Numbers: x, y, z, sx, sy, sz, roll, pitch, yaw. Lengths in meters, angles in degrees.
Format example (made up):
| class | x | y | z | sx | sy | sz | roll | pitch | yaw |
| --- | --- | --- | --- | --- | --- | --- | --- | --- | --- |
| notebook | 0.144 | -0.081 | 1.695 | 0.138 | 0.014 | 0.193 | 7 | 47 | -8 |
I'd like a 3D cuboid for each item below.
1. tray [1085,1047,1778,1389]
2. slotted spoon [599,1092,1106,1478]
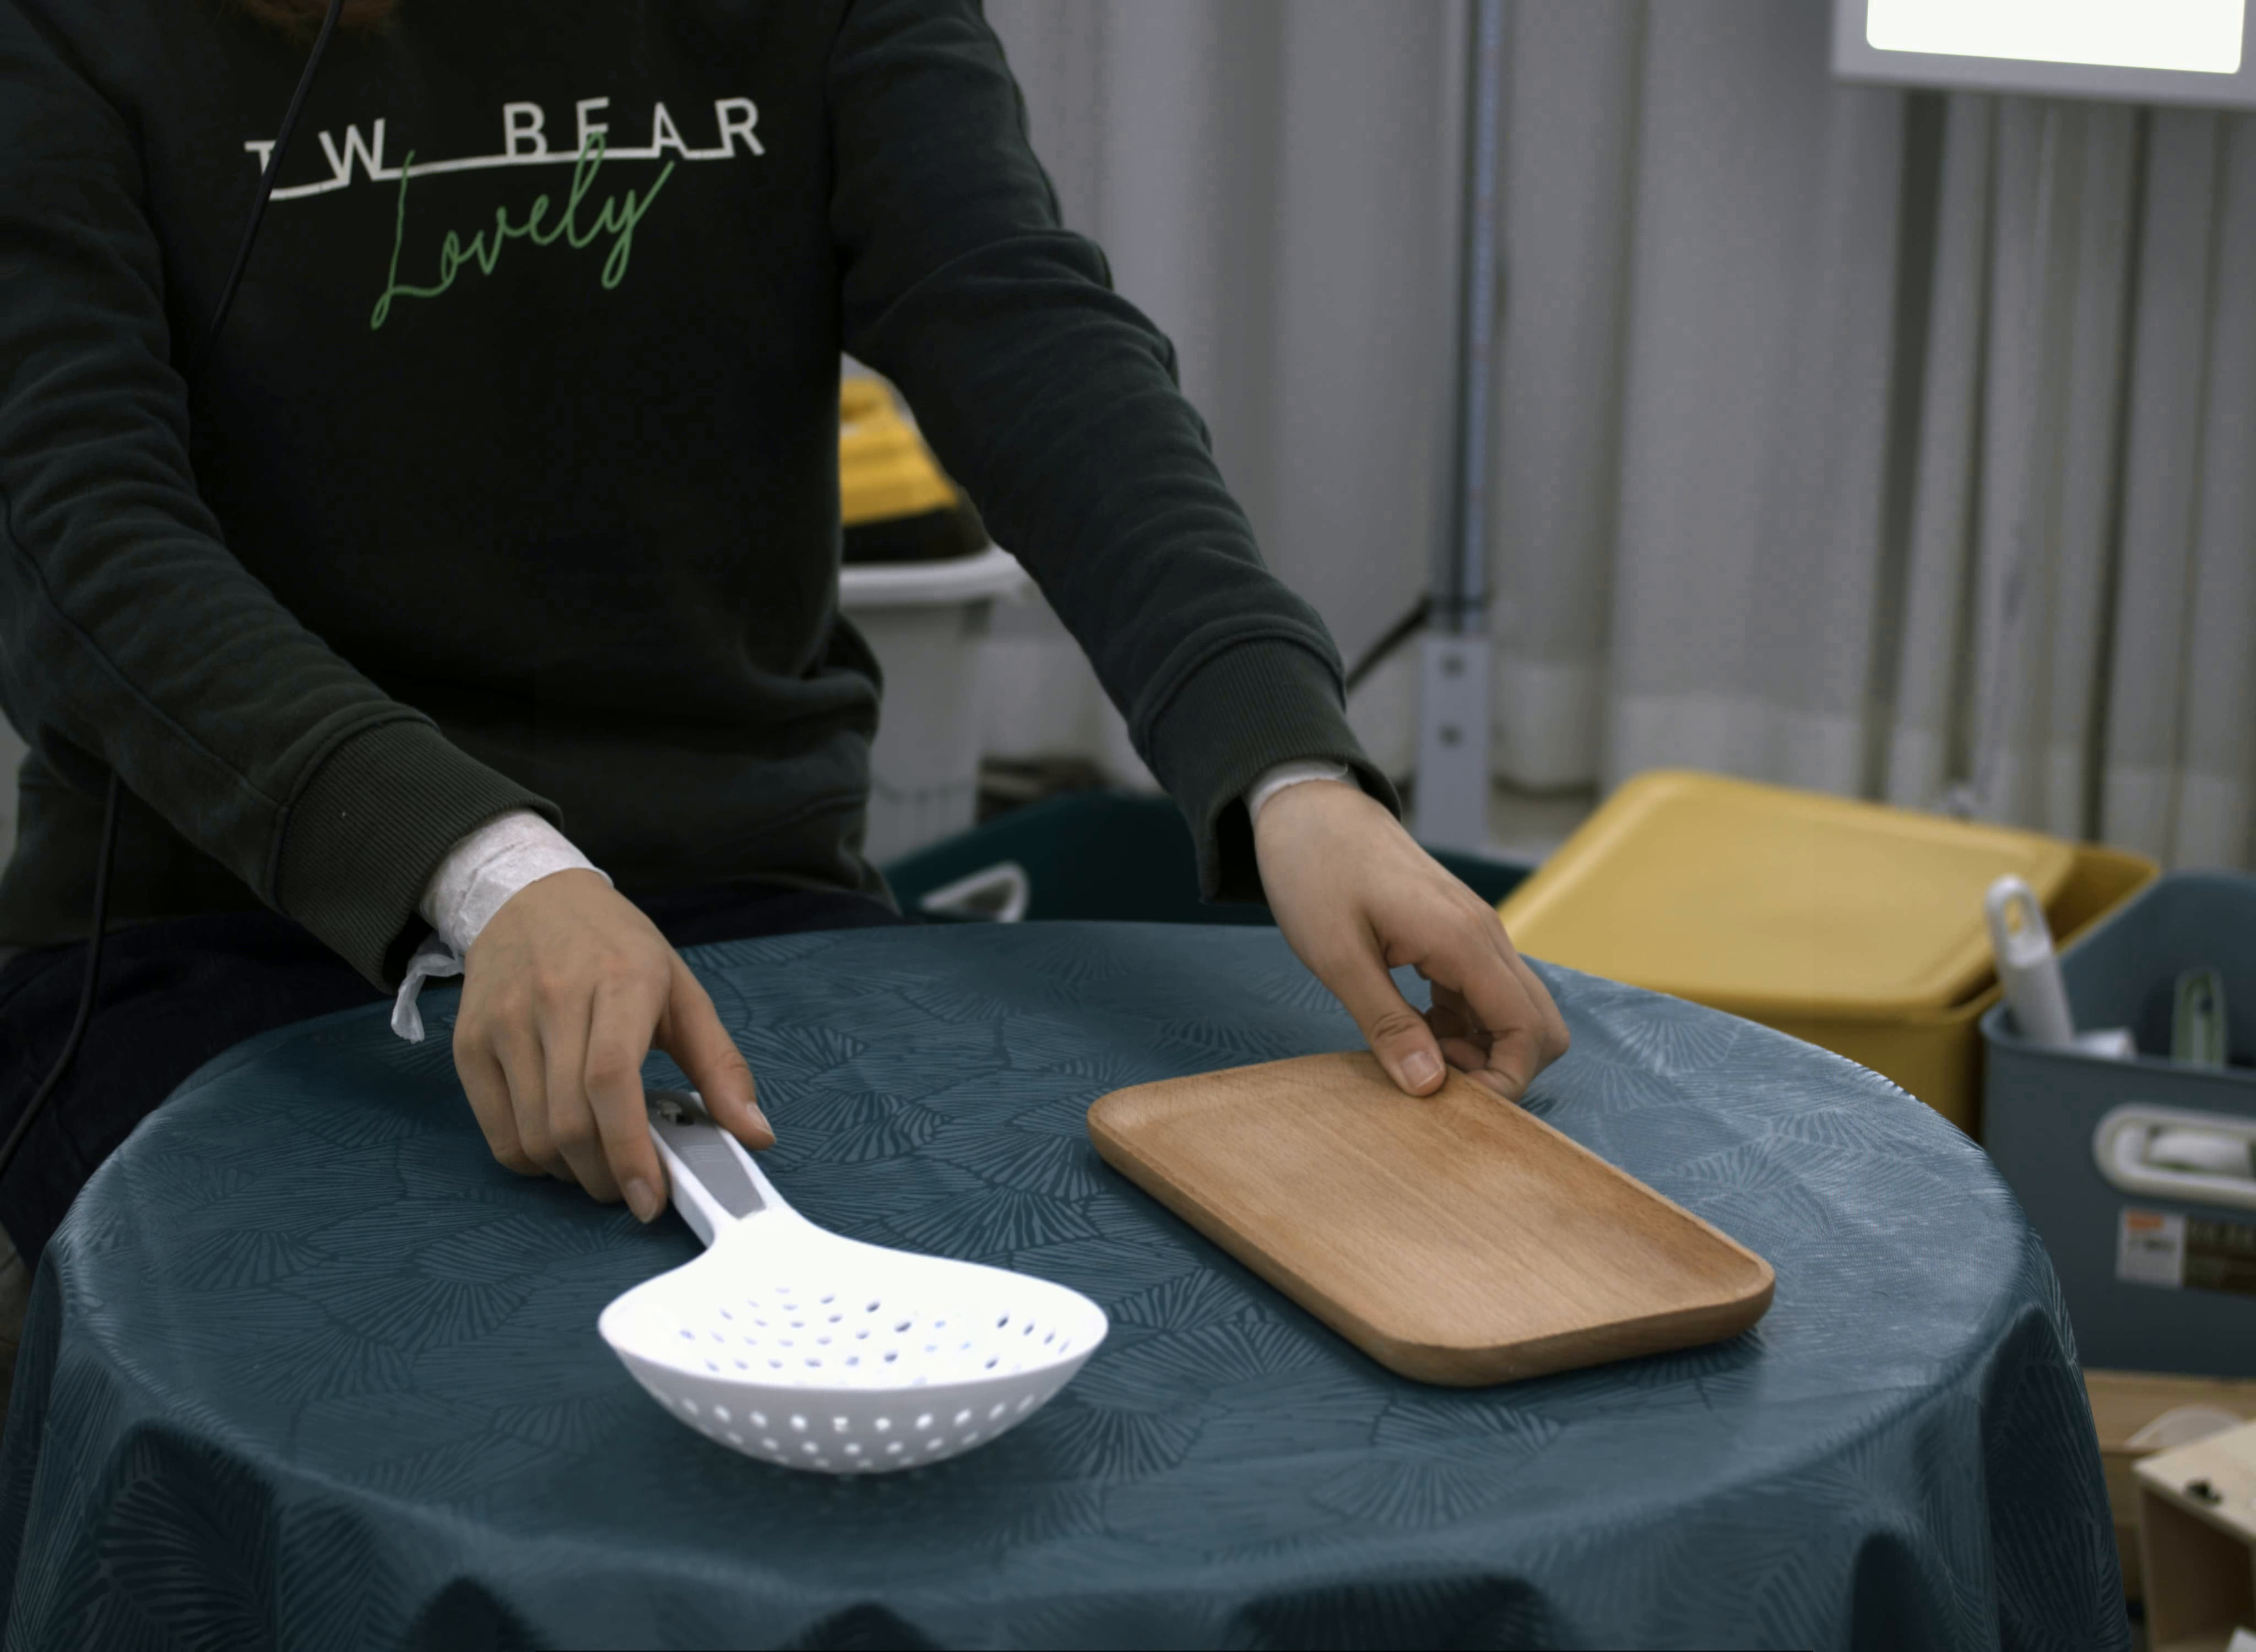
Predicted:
| class | x | y | z | sx | sy | sz | roll | pitch | yaw |
| --- | --- | --- | --- | --- | --- | --- | --- | --- | --- |
| tray | 0.087 | 0.115 | 1.587 | 0.131 | 0.023 | 0.248 | -6 | 16 | -24 |
| slotted spoon | -0.103 | 0.121 | 1.507 | 0.136 | 0.046 | 0.346 | 0 | 15 | -16 |
